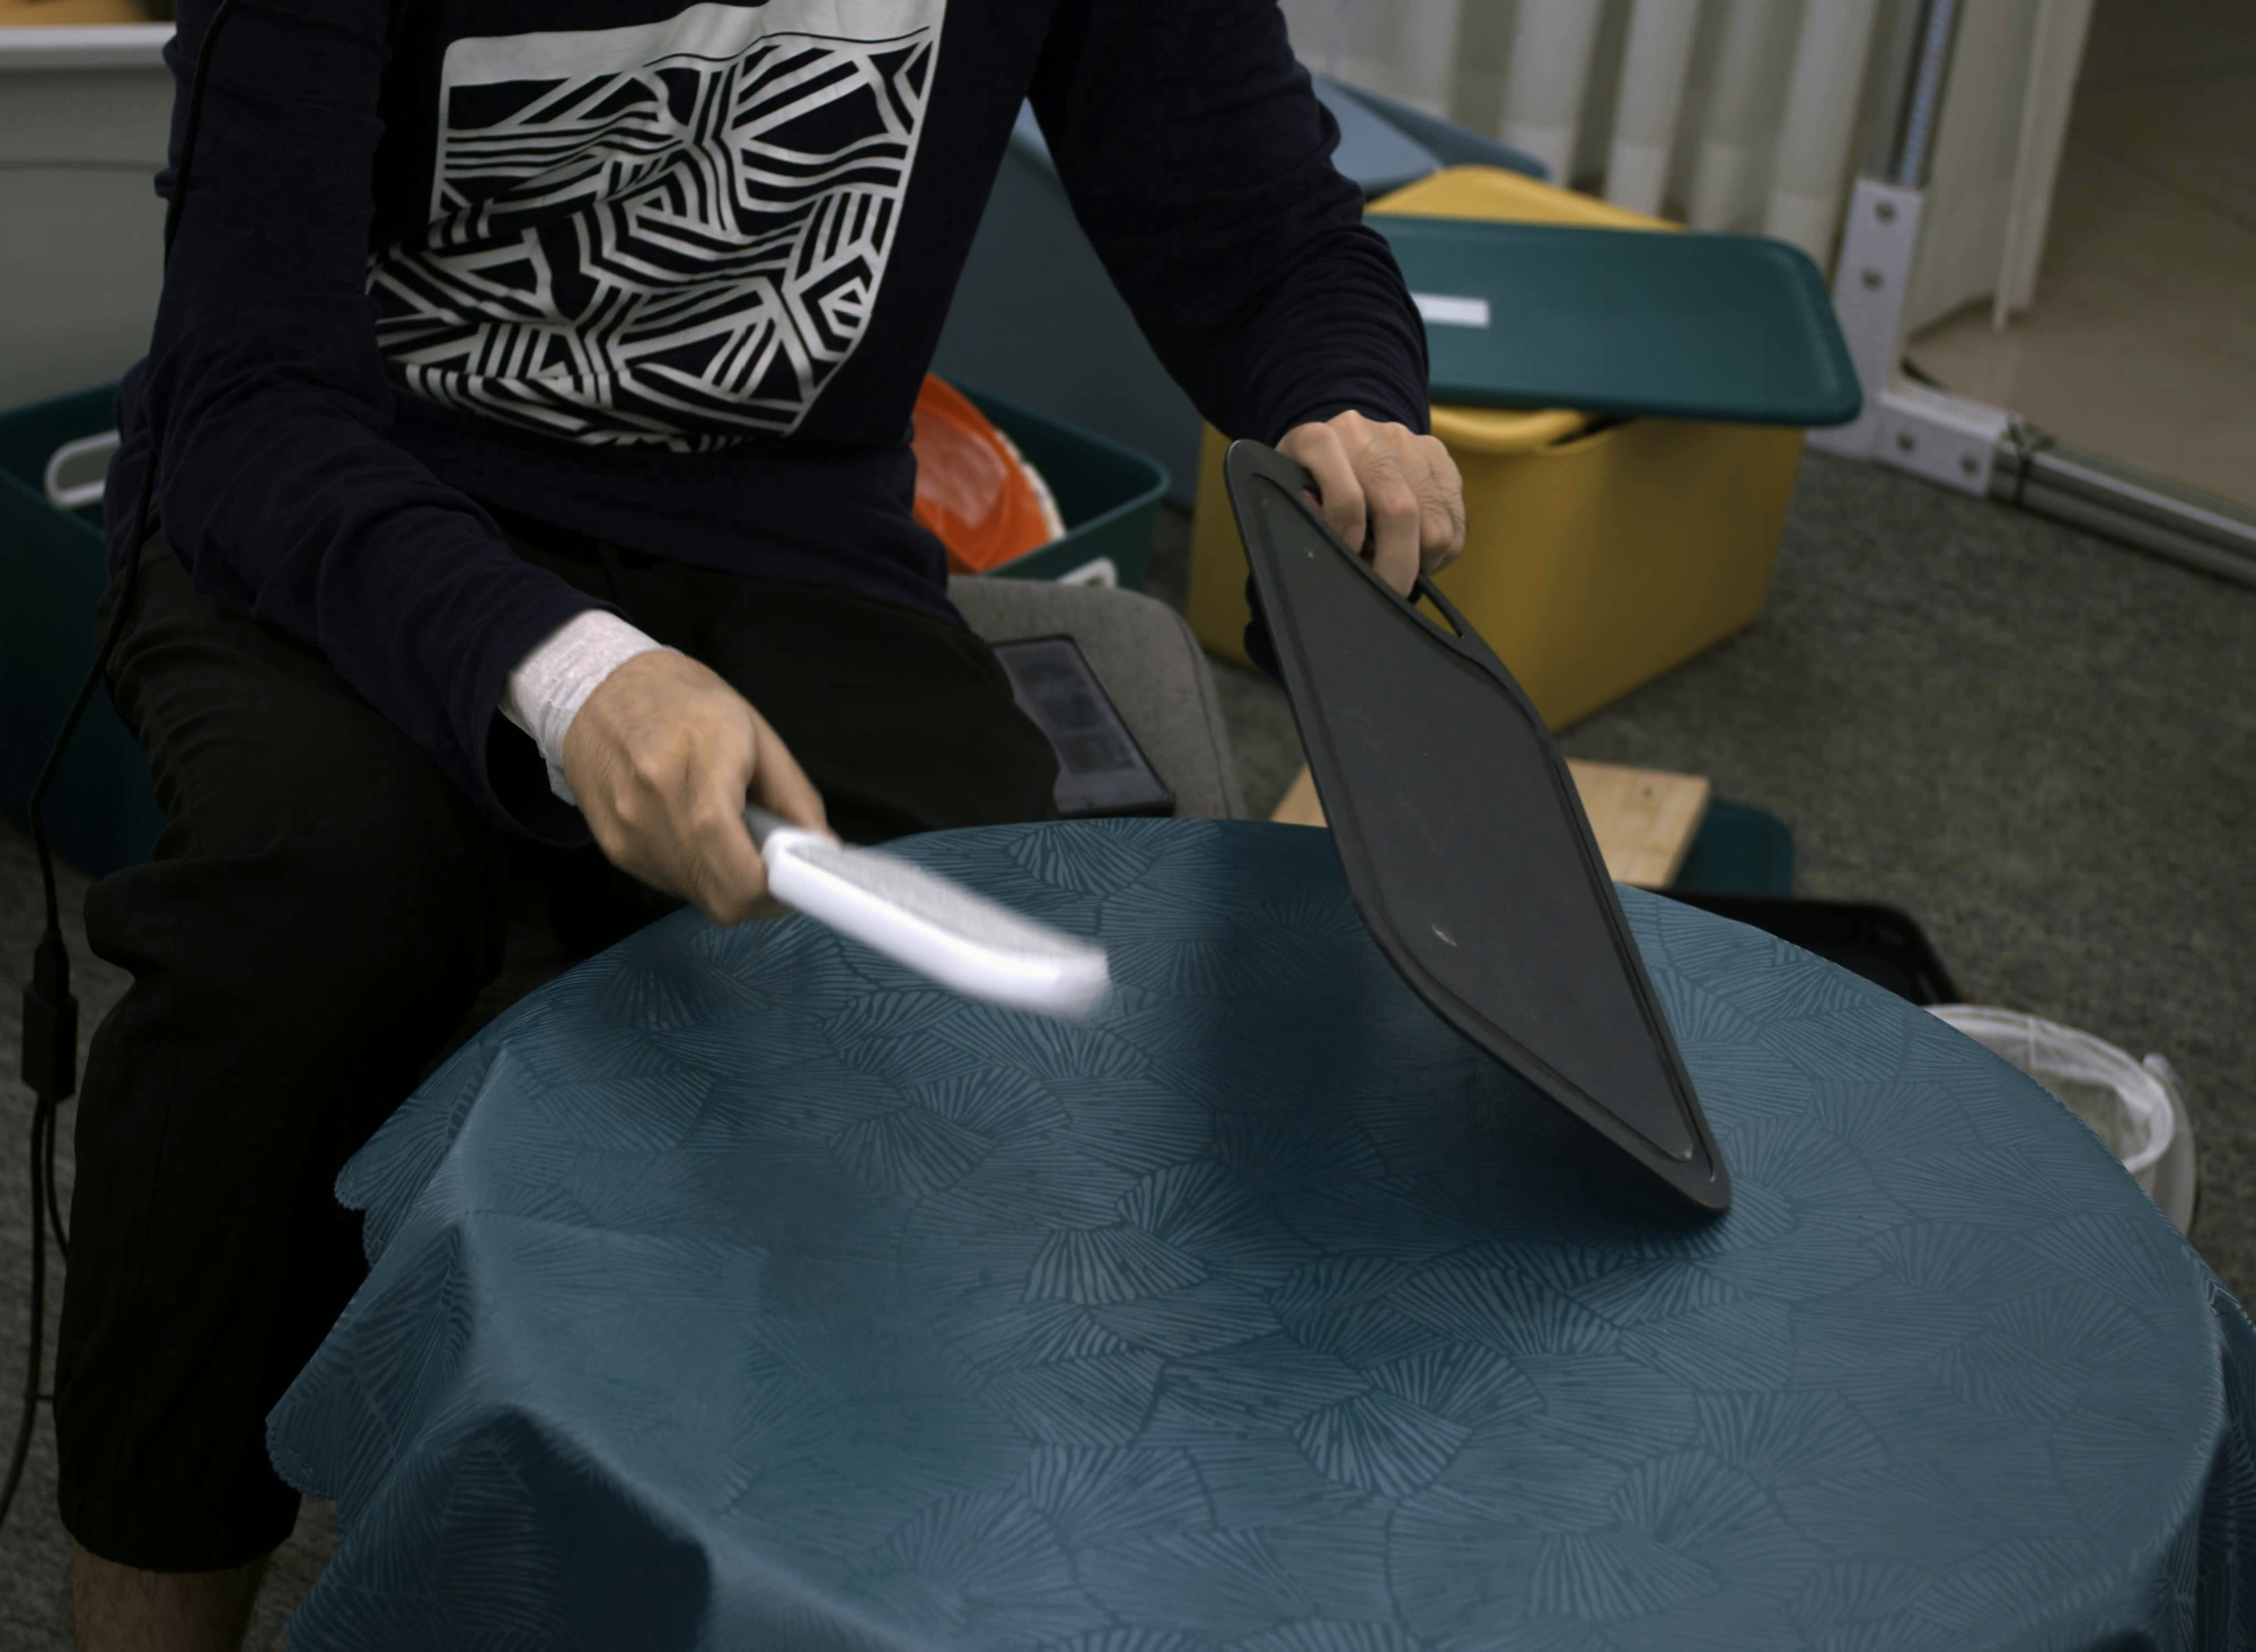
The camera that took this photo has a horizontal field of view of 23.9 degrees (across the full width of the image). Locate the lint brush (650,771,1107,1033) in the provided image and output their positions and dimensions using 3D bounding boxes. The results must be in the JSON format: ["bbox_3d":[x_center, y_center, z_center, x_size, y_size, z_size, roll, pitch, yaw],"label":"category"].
[{"bbox_3d":[-0.092,0.023,1.791,0.059,0.021,0.311,10,8,-30],"label":"lint brush"}]

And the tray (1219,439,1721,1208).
[{"bbox_3d":[0.118,-0.012,1.889,0.209,0.010,0.328,38,23,-34],"label":"tray"}]
